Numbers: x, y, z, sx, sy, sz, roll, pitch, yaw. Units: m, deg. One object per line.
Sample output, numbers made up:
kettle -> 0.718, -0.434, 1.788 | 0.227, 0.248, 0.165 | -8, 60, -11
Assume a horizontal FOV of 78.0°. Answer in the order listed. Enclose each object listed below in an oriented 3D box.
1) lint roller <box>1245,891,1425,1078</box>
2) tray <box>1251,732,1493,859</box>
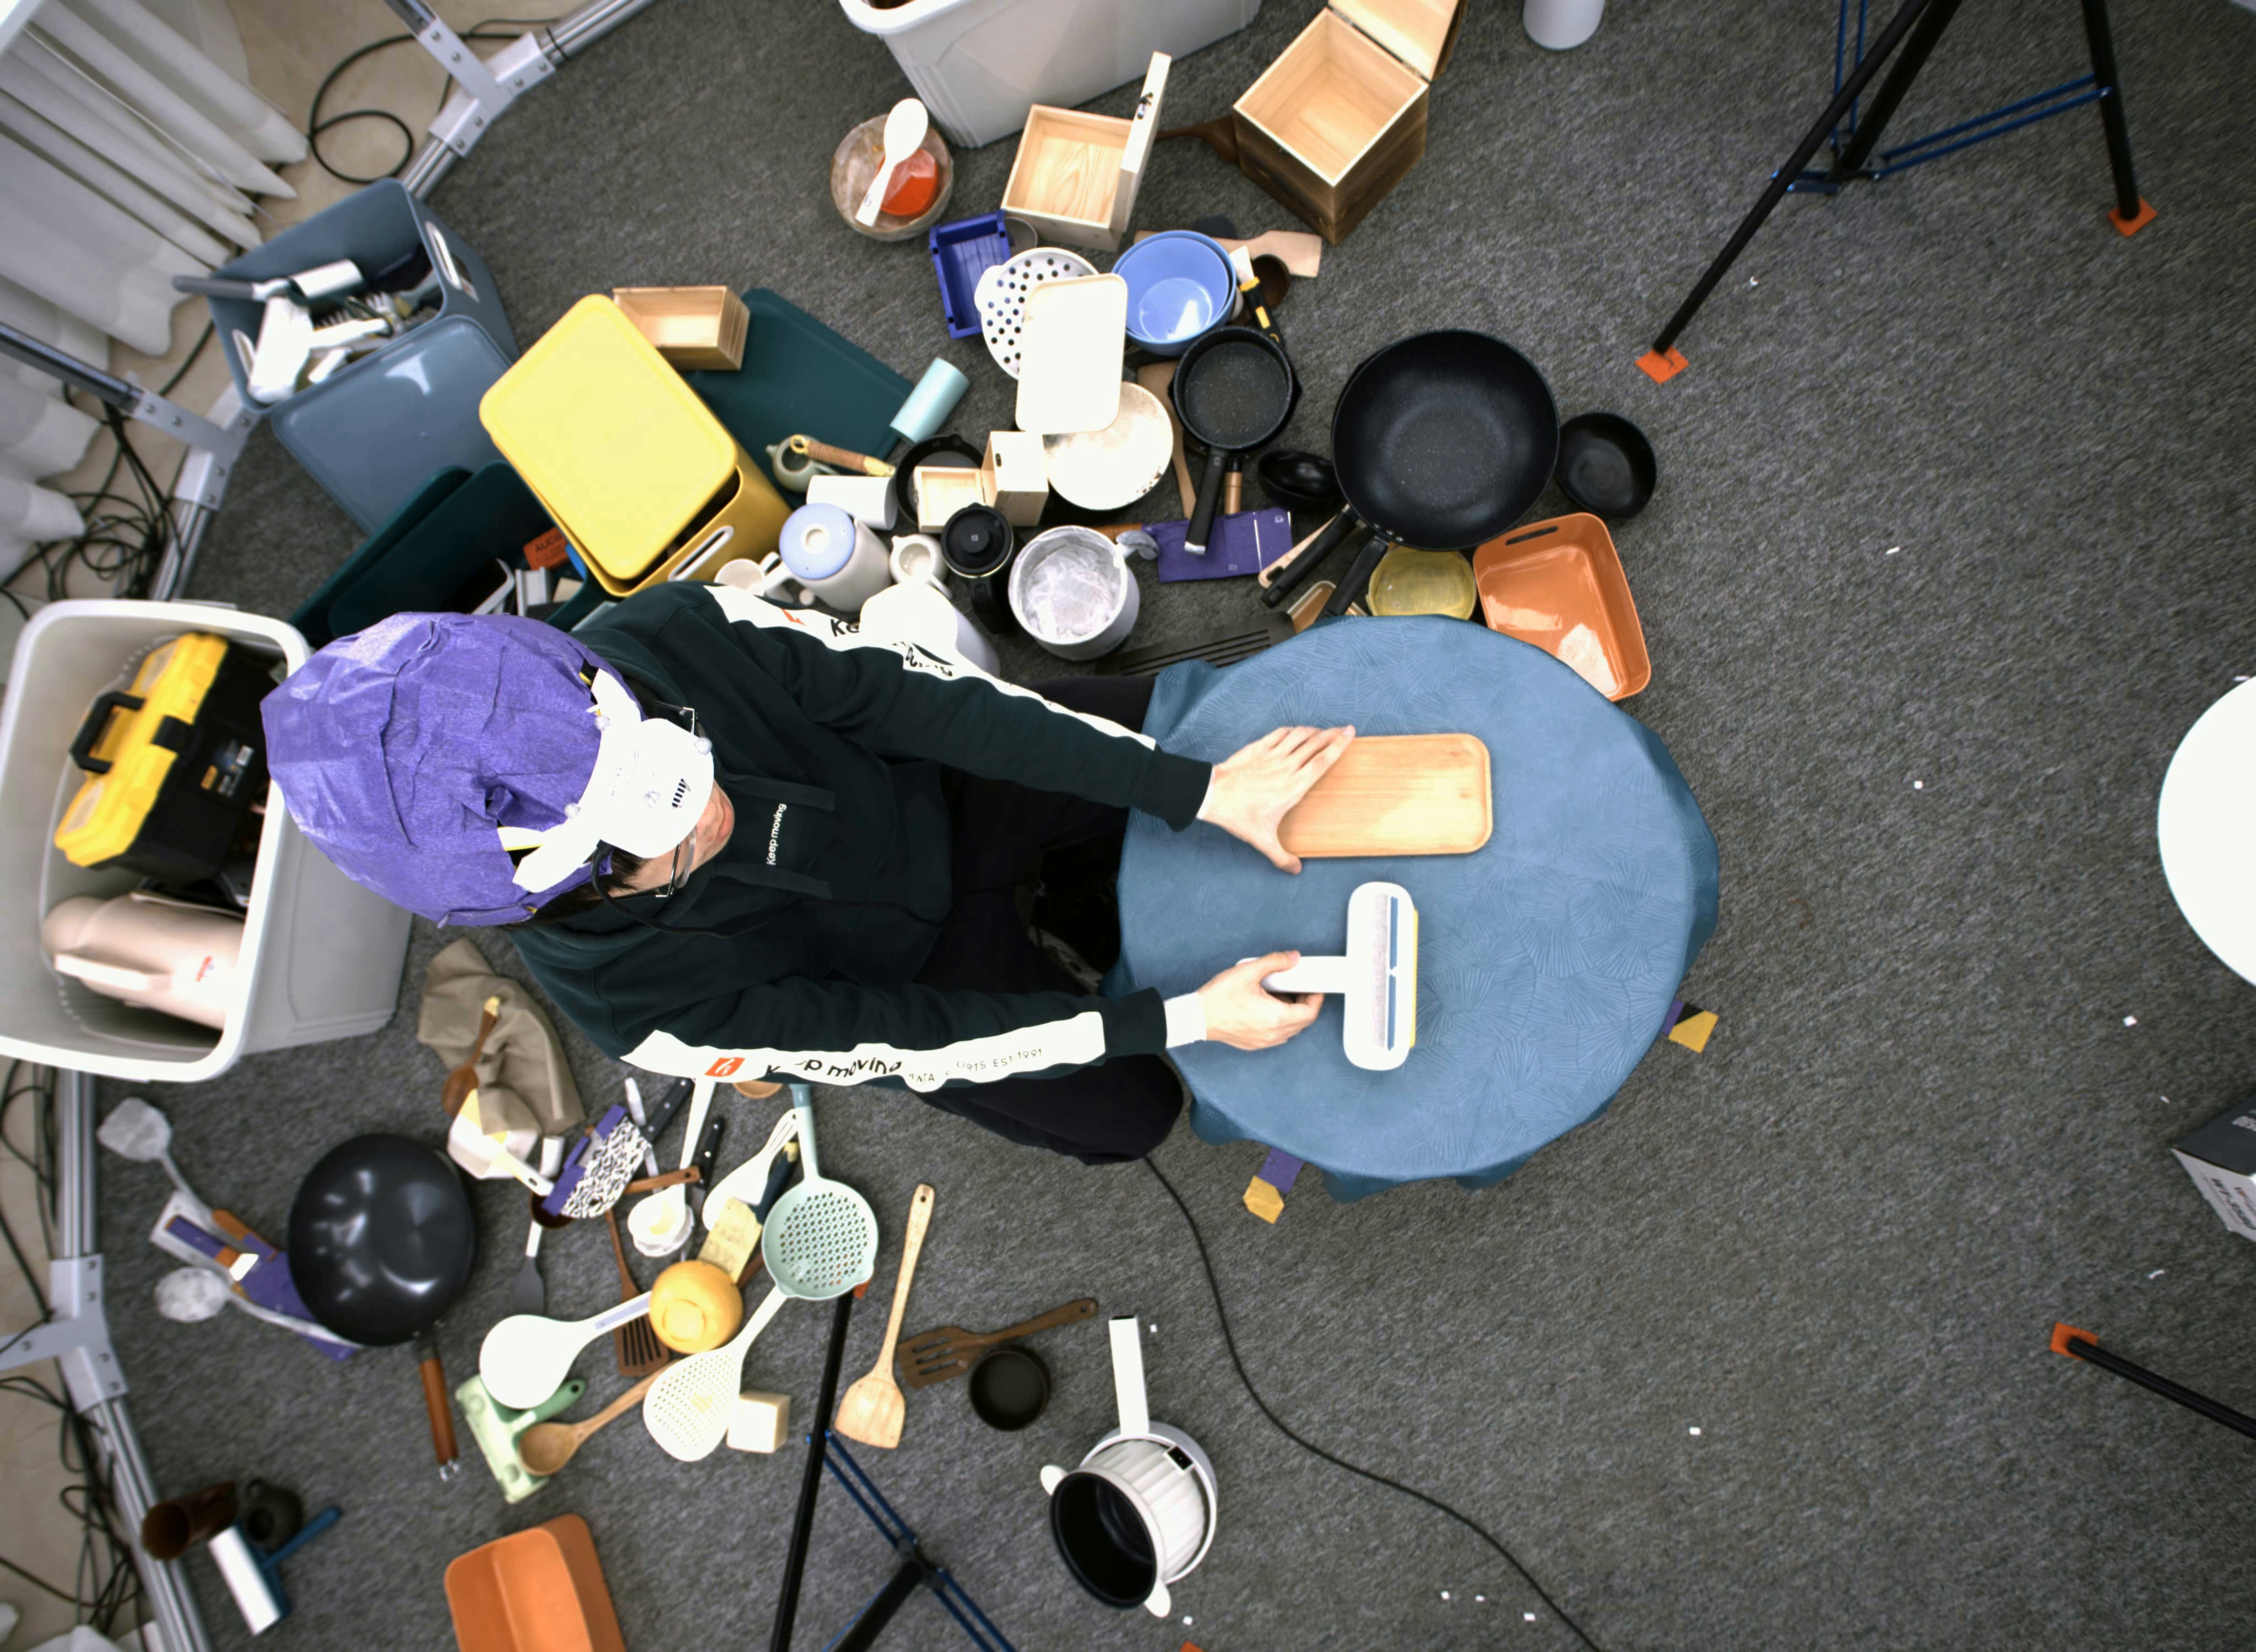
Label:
lint roller -> 0.208, 0.159, 1.446 | 0.193, 0.074, 0.191 | 4, 78, 25
tray -> 0.256, -0.032, 1.455 | 0.252, 0.023, 0.130 | -2, 85, 11
